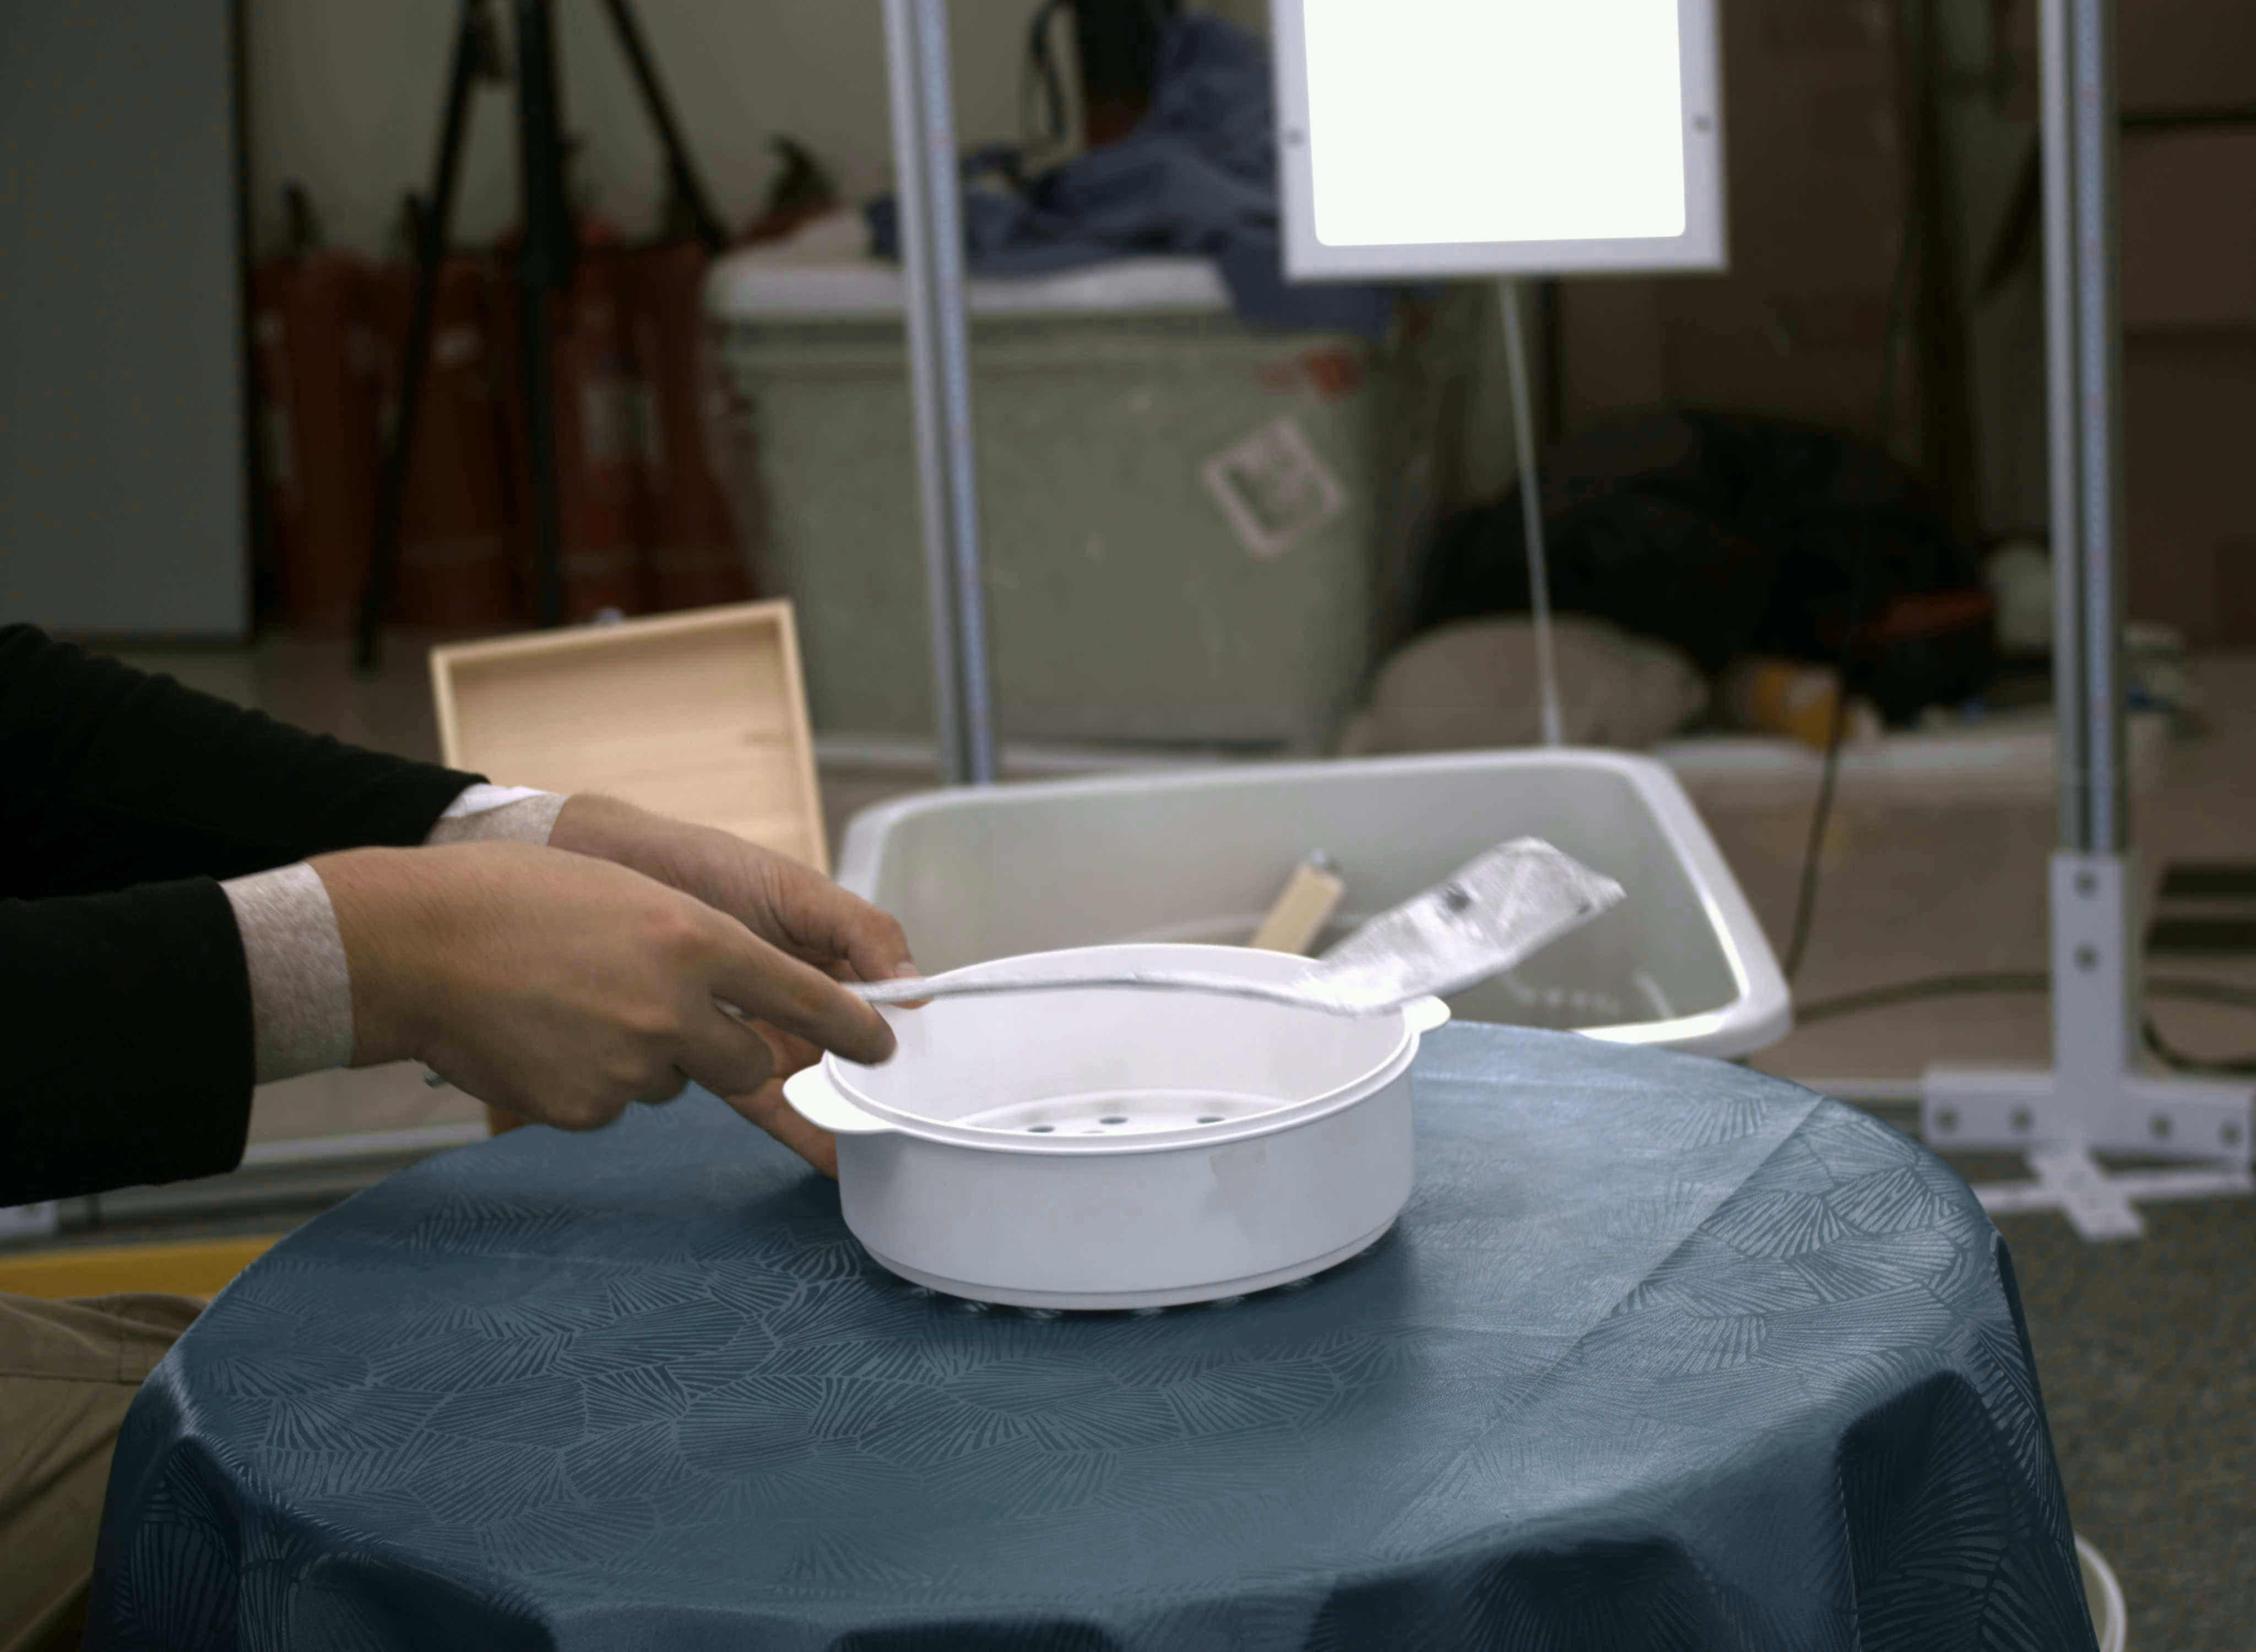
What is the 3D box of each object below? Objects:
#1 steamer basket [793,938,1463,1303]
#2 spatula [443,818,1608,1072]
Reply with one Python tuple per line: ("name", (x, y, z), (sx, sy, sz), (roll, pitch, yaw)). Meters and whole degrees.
("steamer basket", (0.004, 0.099, 1.848), (0.227, 0.069, 0.204), (-10, 17, -17))
("spatula", (-0.030, 0.040, 1.692), (0.360, 0.045, 0.099), (-5, 13, -11))
